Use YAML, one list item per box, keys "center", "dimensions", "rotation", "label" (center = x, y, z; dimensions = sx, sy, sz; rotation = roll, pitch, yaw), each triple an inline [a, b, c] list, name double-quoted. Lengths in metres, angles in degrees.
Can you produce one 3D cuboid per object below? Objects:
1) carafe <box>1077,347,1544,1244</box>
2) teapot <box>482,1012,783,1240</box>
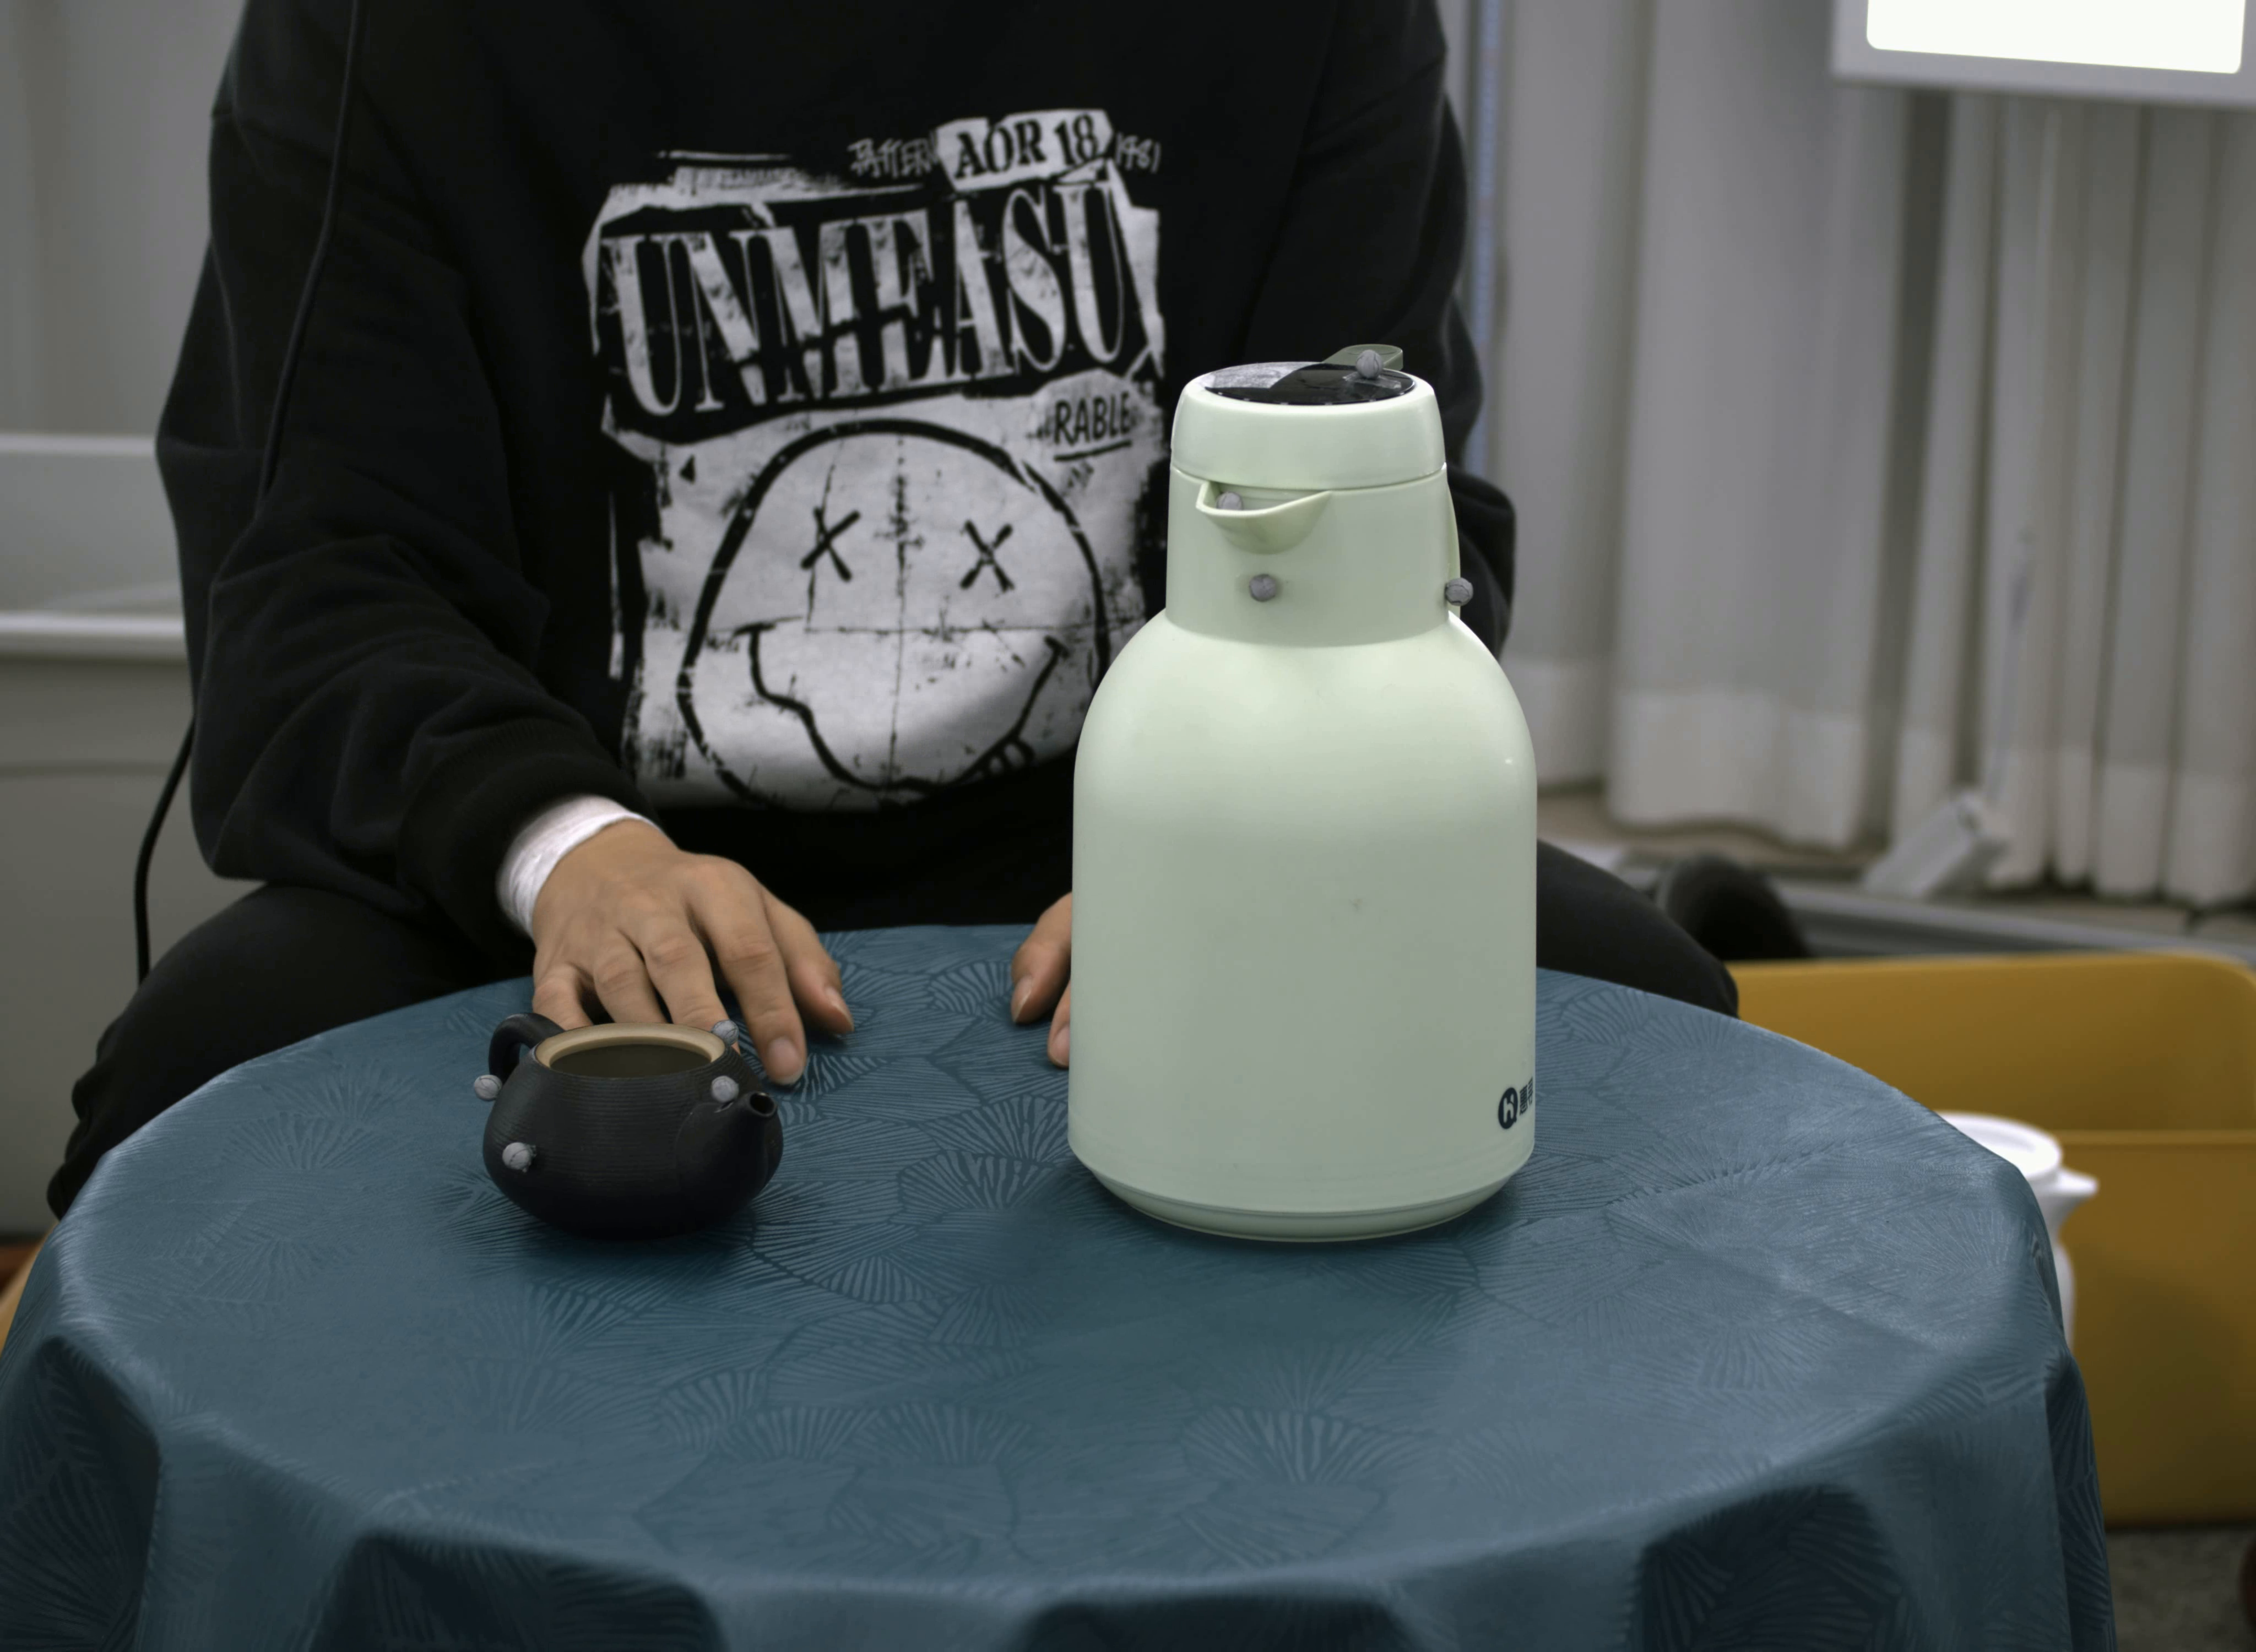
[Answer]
- center: [0.060, -0.014, 1.612]
  dimensions: [0.143, 0.258, 0.187]
  rotation: [4, 13, 19]
  label: "carafe"
- center: [-0.150, 0.092, 1.591]
  dimensions: [0.091, 0.053, 0.131]
  rotation: [-12, 20, -43]
  label: "teapot"
